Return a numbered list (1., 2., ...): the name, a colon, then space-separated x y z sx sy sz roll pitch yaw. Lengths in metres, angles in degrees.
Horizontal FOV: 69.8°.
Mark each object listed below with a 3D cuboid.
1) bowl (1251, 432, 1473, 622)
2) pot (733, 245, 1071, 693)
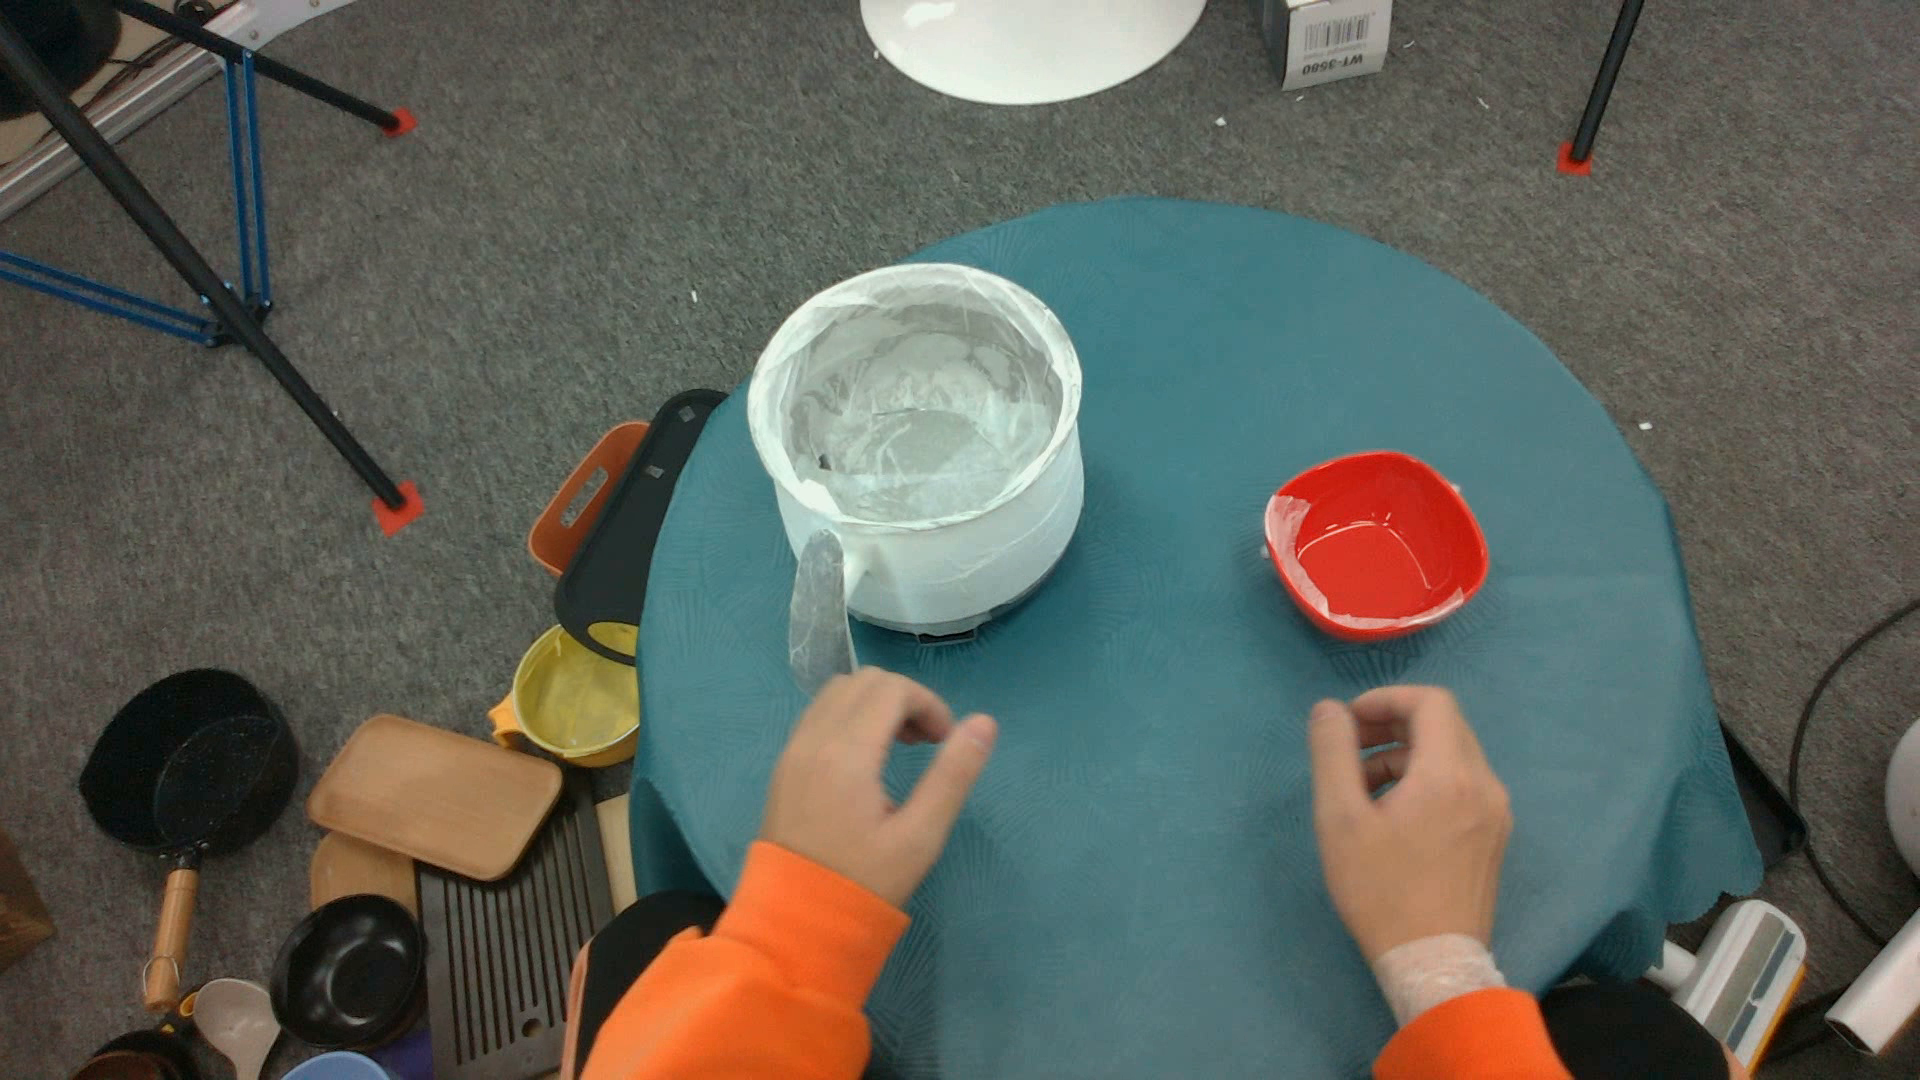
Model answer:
1. bowl: 0.220 0.001 0.768 0.119 0.051 0.119 -2 58 3
2. pot: -0.037 -0.034 0.763 0.178 0.136 0.235 17 62 16
